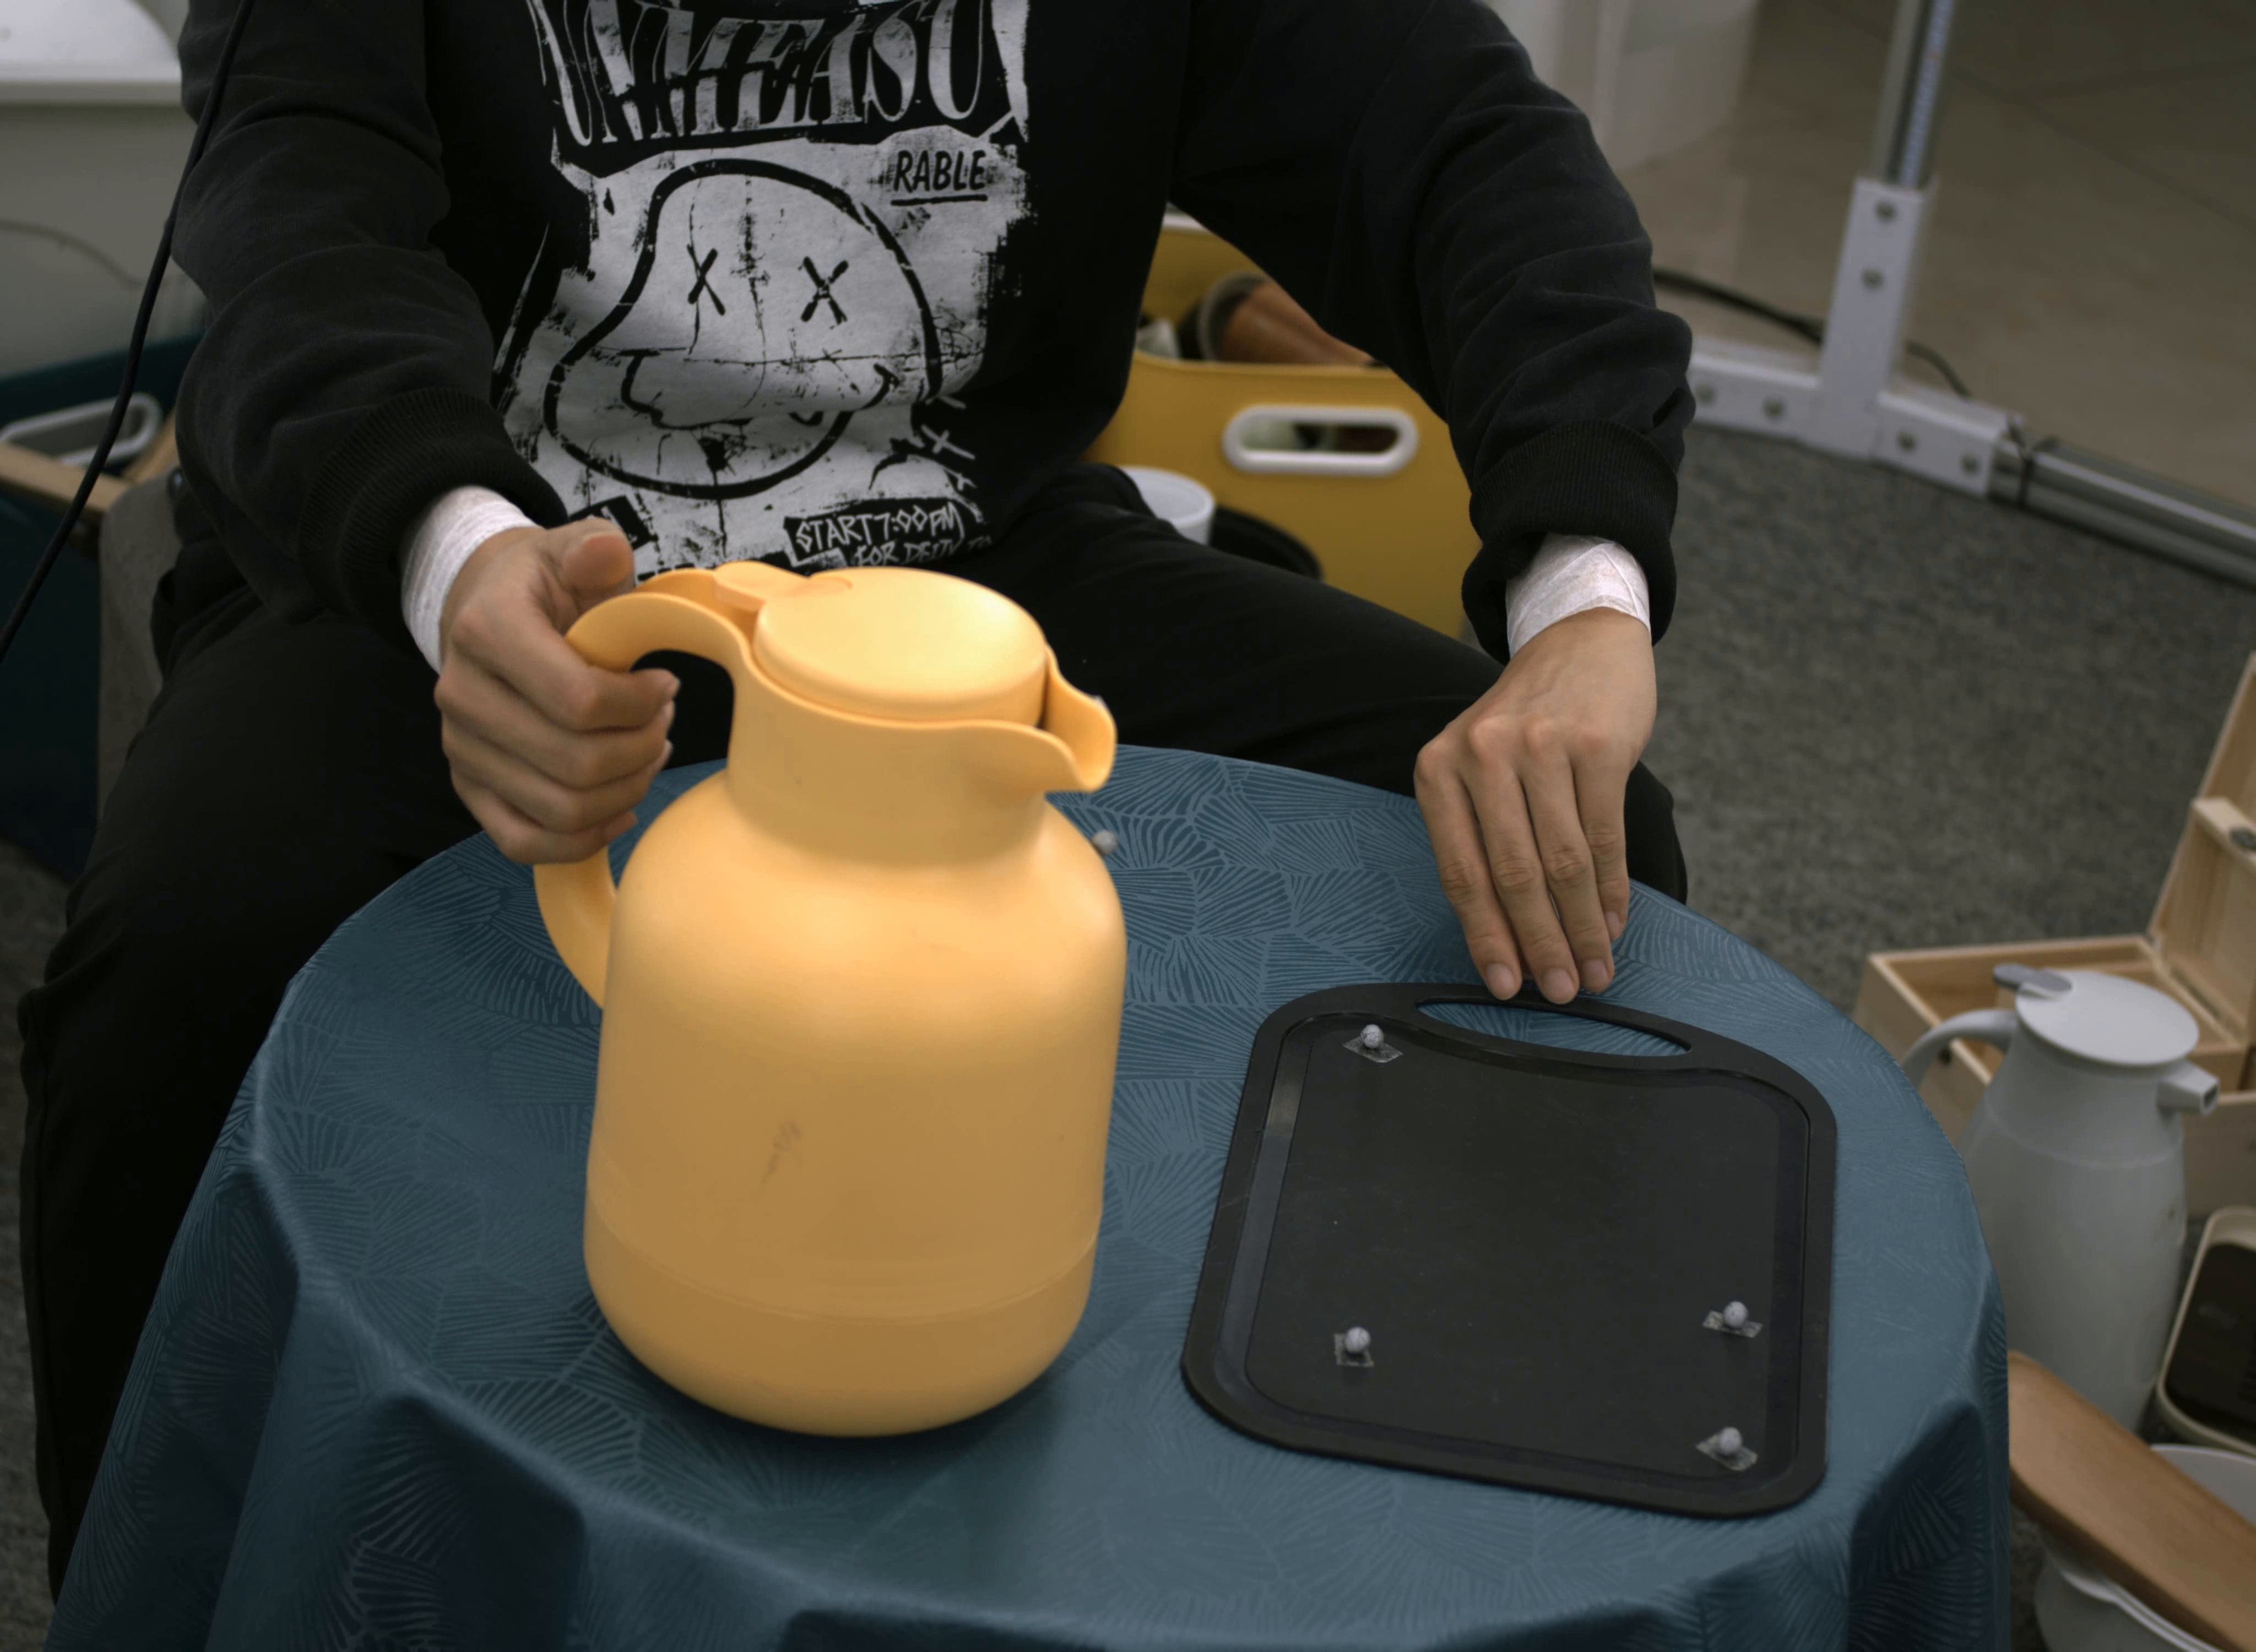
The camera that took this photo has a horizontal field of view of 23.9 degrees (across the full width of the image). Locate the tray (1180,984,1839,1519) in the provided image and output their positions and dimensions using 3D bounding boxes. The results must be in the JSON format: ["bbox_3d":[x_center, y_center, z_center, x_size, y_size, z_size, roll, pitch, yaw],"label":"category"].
[{"bbox_3d":[0.135,0.133,1.810,0.211,0.010,0.327,9,27,5],"label":"tray"}]

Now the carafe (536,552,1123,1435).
[{"bbox_3d":[-0.098,0.041,1.657,0.203,0.260,0.163,23,29,27],"label":"carafe"}]
